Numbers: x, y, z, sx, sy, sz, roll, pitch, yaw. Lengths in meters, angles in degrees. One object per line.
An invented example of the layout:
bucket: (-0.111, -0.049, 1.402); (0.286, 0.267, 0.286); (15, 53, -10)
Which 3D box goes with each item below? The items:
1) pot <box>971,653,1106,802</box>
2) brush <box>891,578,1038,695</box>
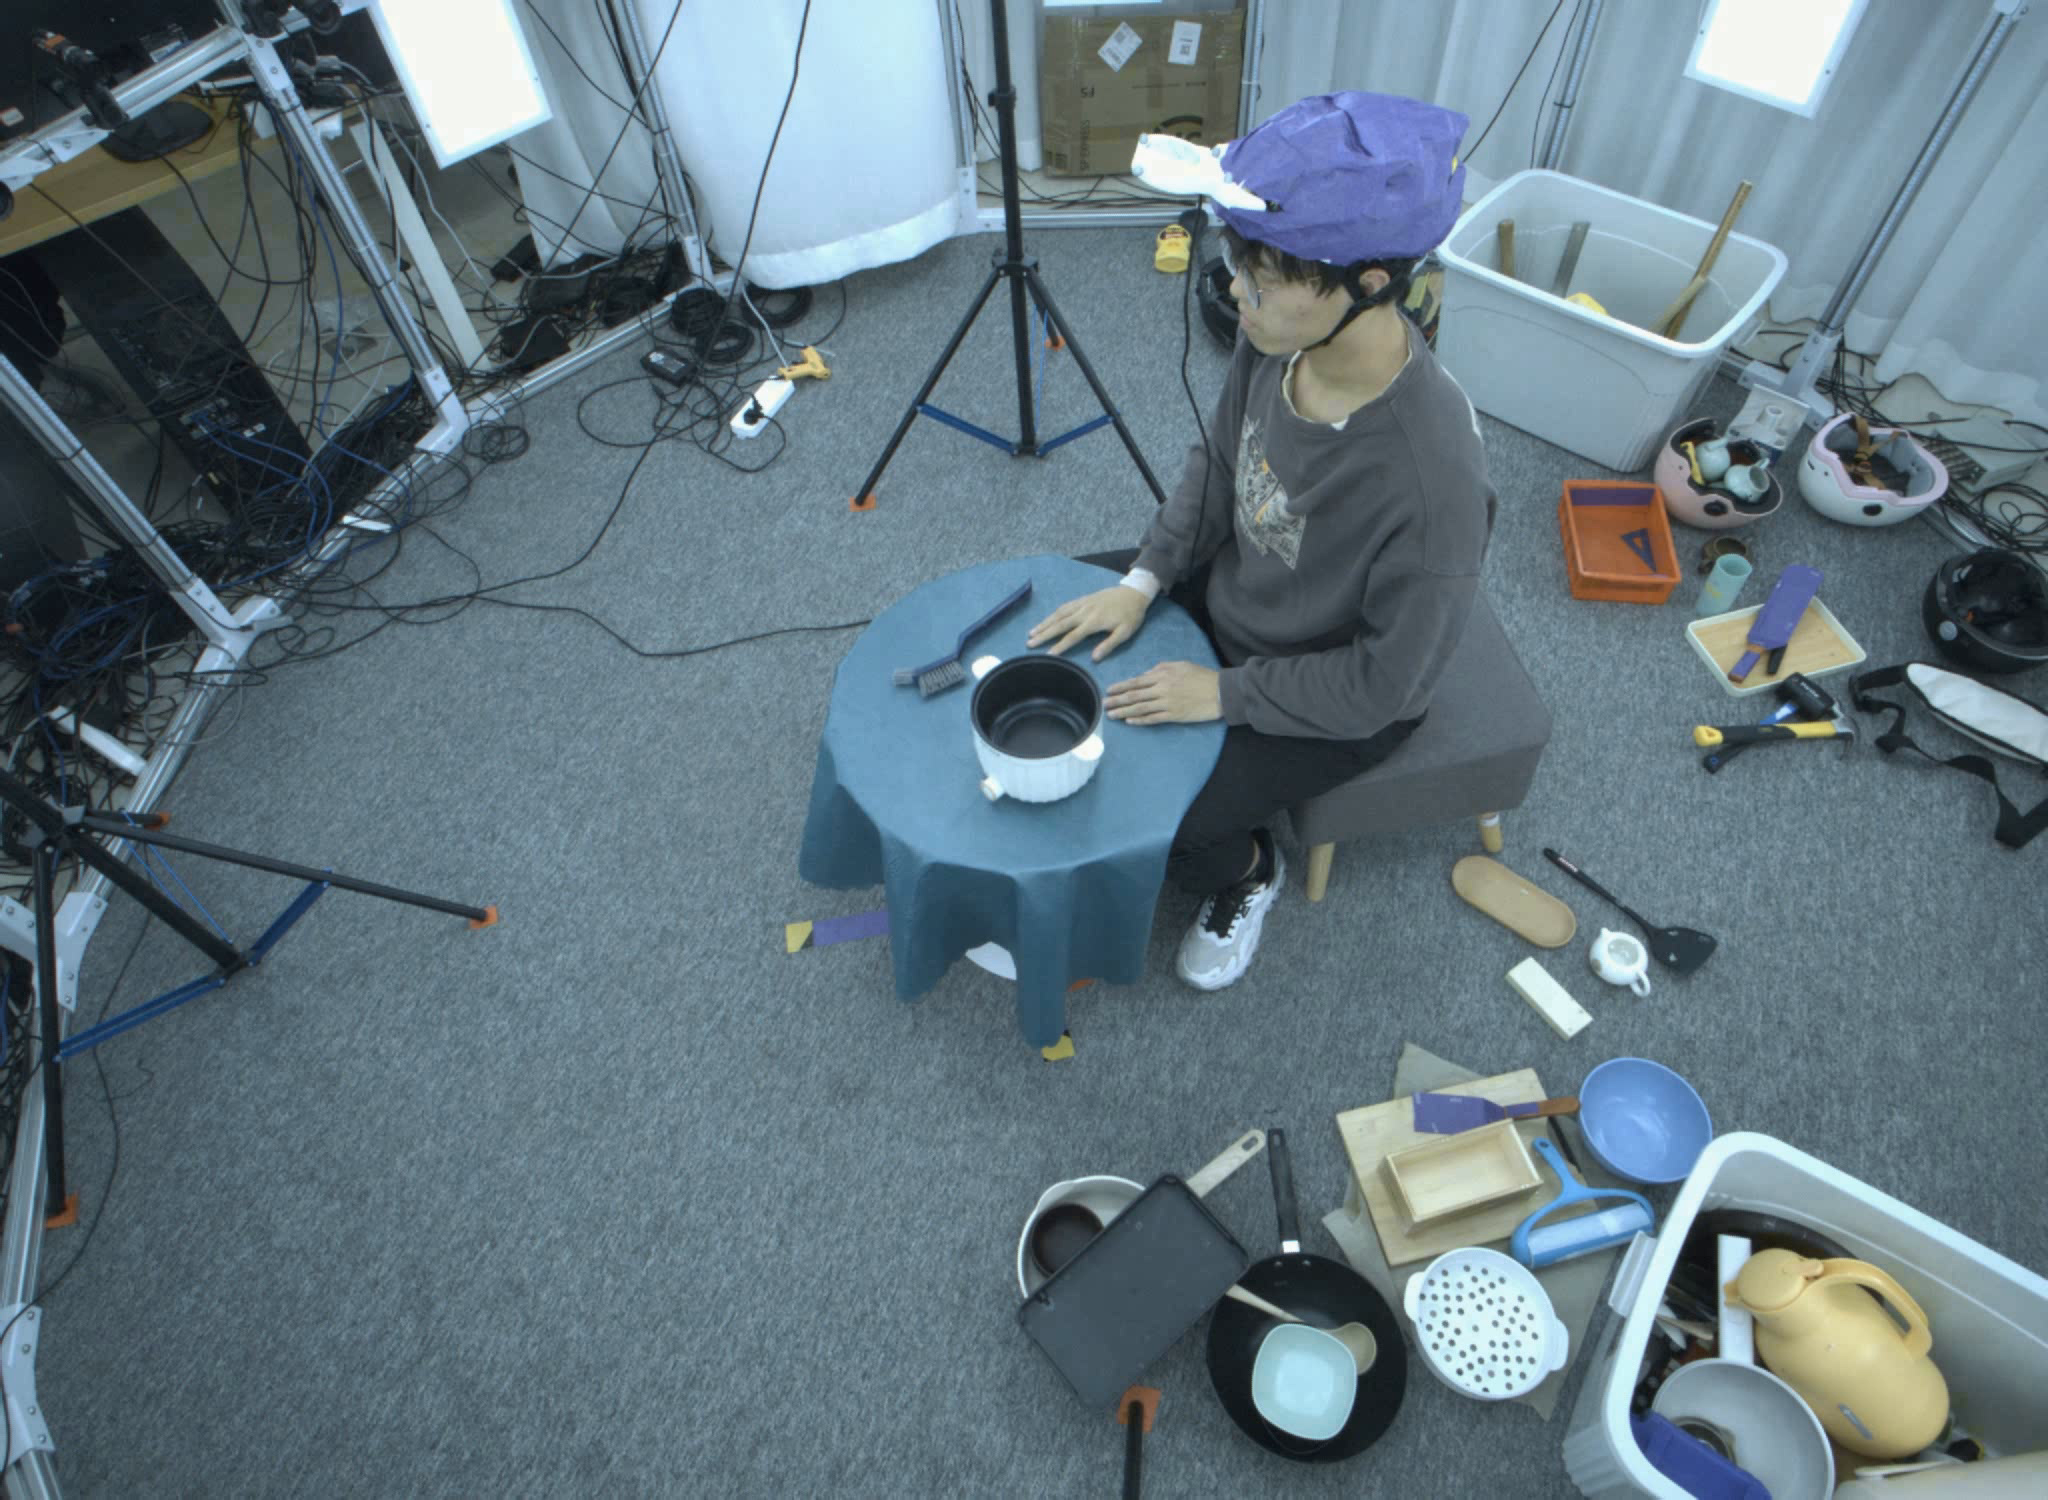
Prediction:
pot: (0.018, -0.019, 1.711); (0.192, 0.144, 0.236); (-37, 59, -26)
brush: (-0.085, -0.184, 1.901); (0.094, 0.034, 0.274); (30, 62, 22)
